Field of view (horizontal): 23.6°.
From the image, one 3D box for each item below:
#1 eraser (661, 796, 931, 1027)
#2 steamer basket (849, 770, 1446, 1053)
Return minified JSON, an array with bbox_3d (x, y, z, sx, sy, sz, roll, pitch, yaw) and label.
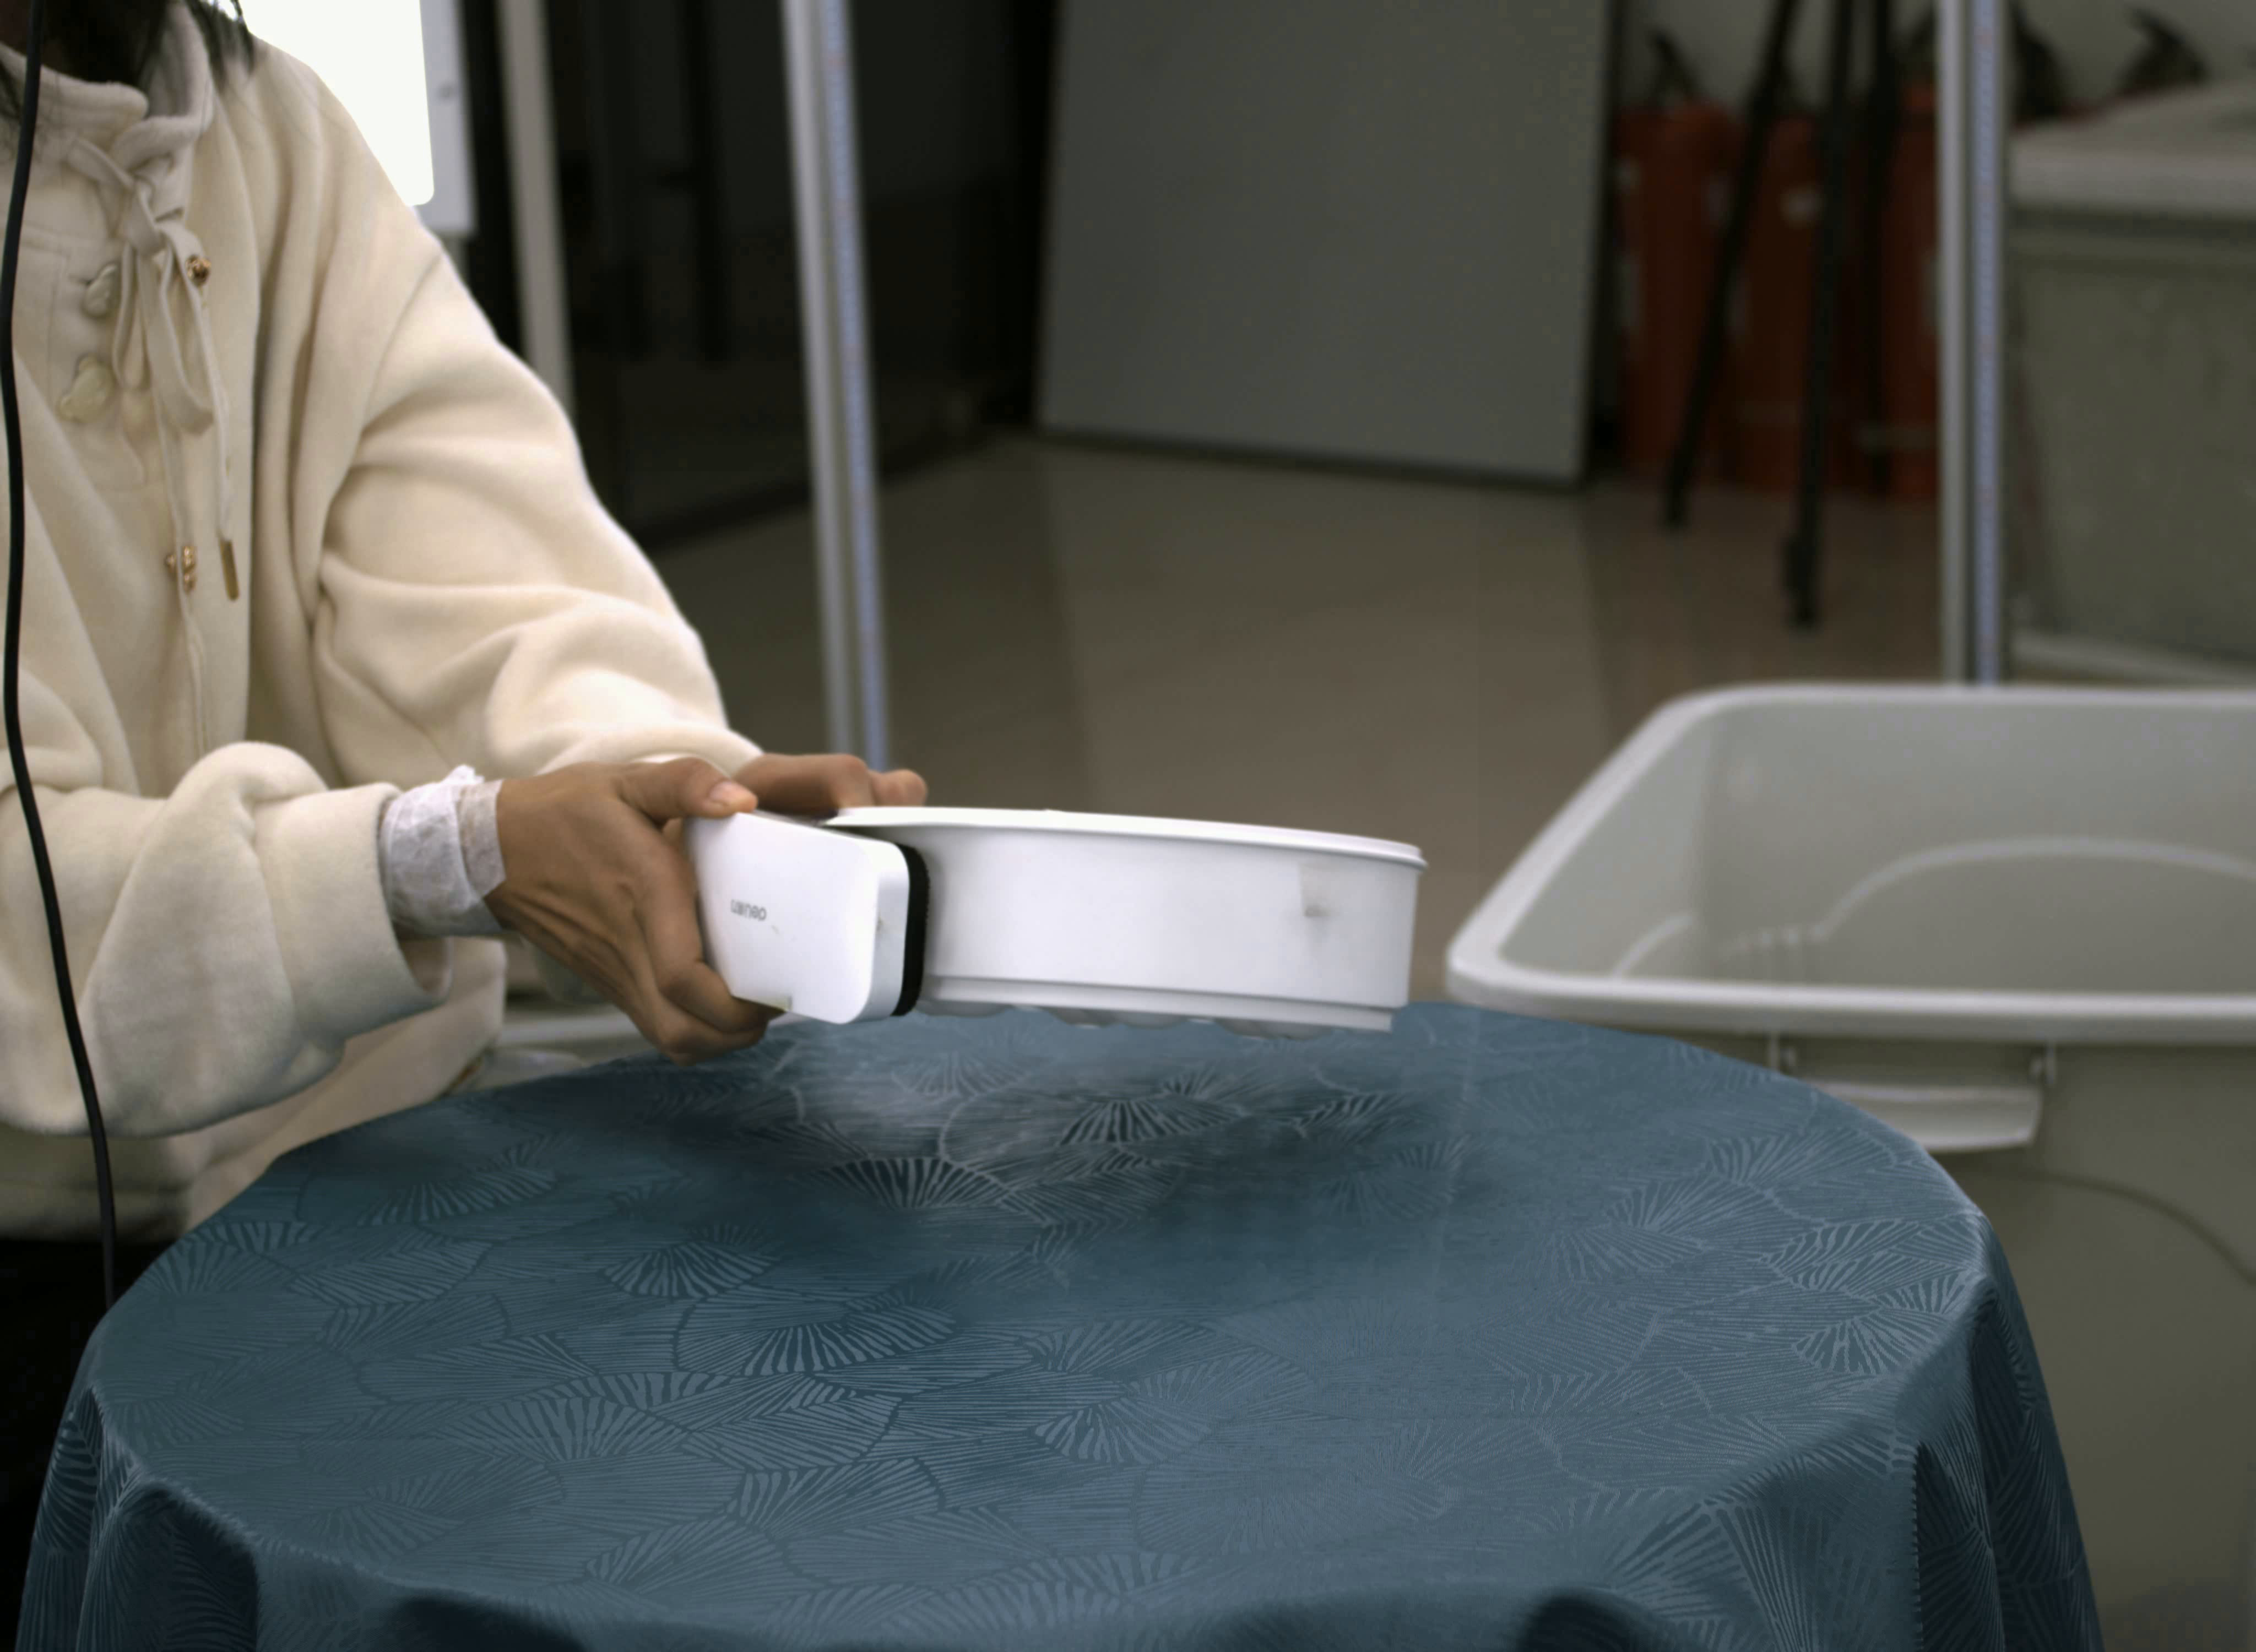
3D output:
[{"bbox_3d":[-0.112,0.026,1.767,0.034,0.064,0.133,1,8,-35],"label":"eraser"},{"bbox_3d":[0.004,0.032,1.801,0.225,0.070,0.204,13,-7,-38],"label":"steamer basket"}]
